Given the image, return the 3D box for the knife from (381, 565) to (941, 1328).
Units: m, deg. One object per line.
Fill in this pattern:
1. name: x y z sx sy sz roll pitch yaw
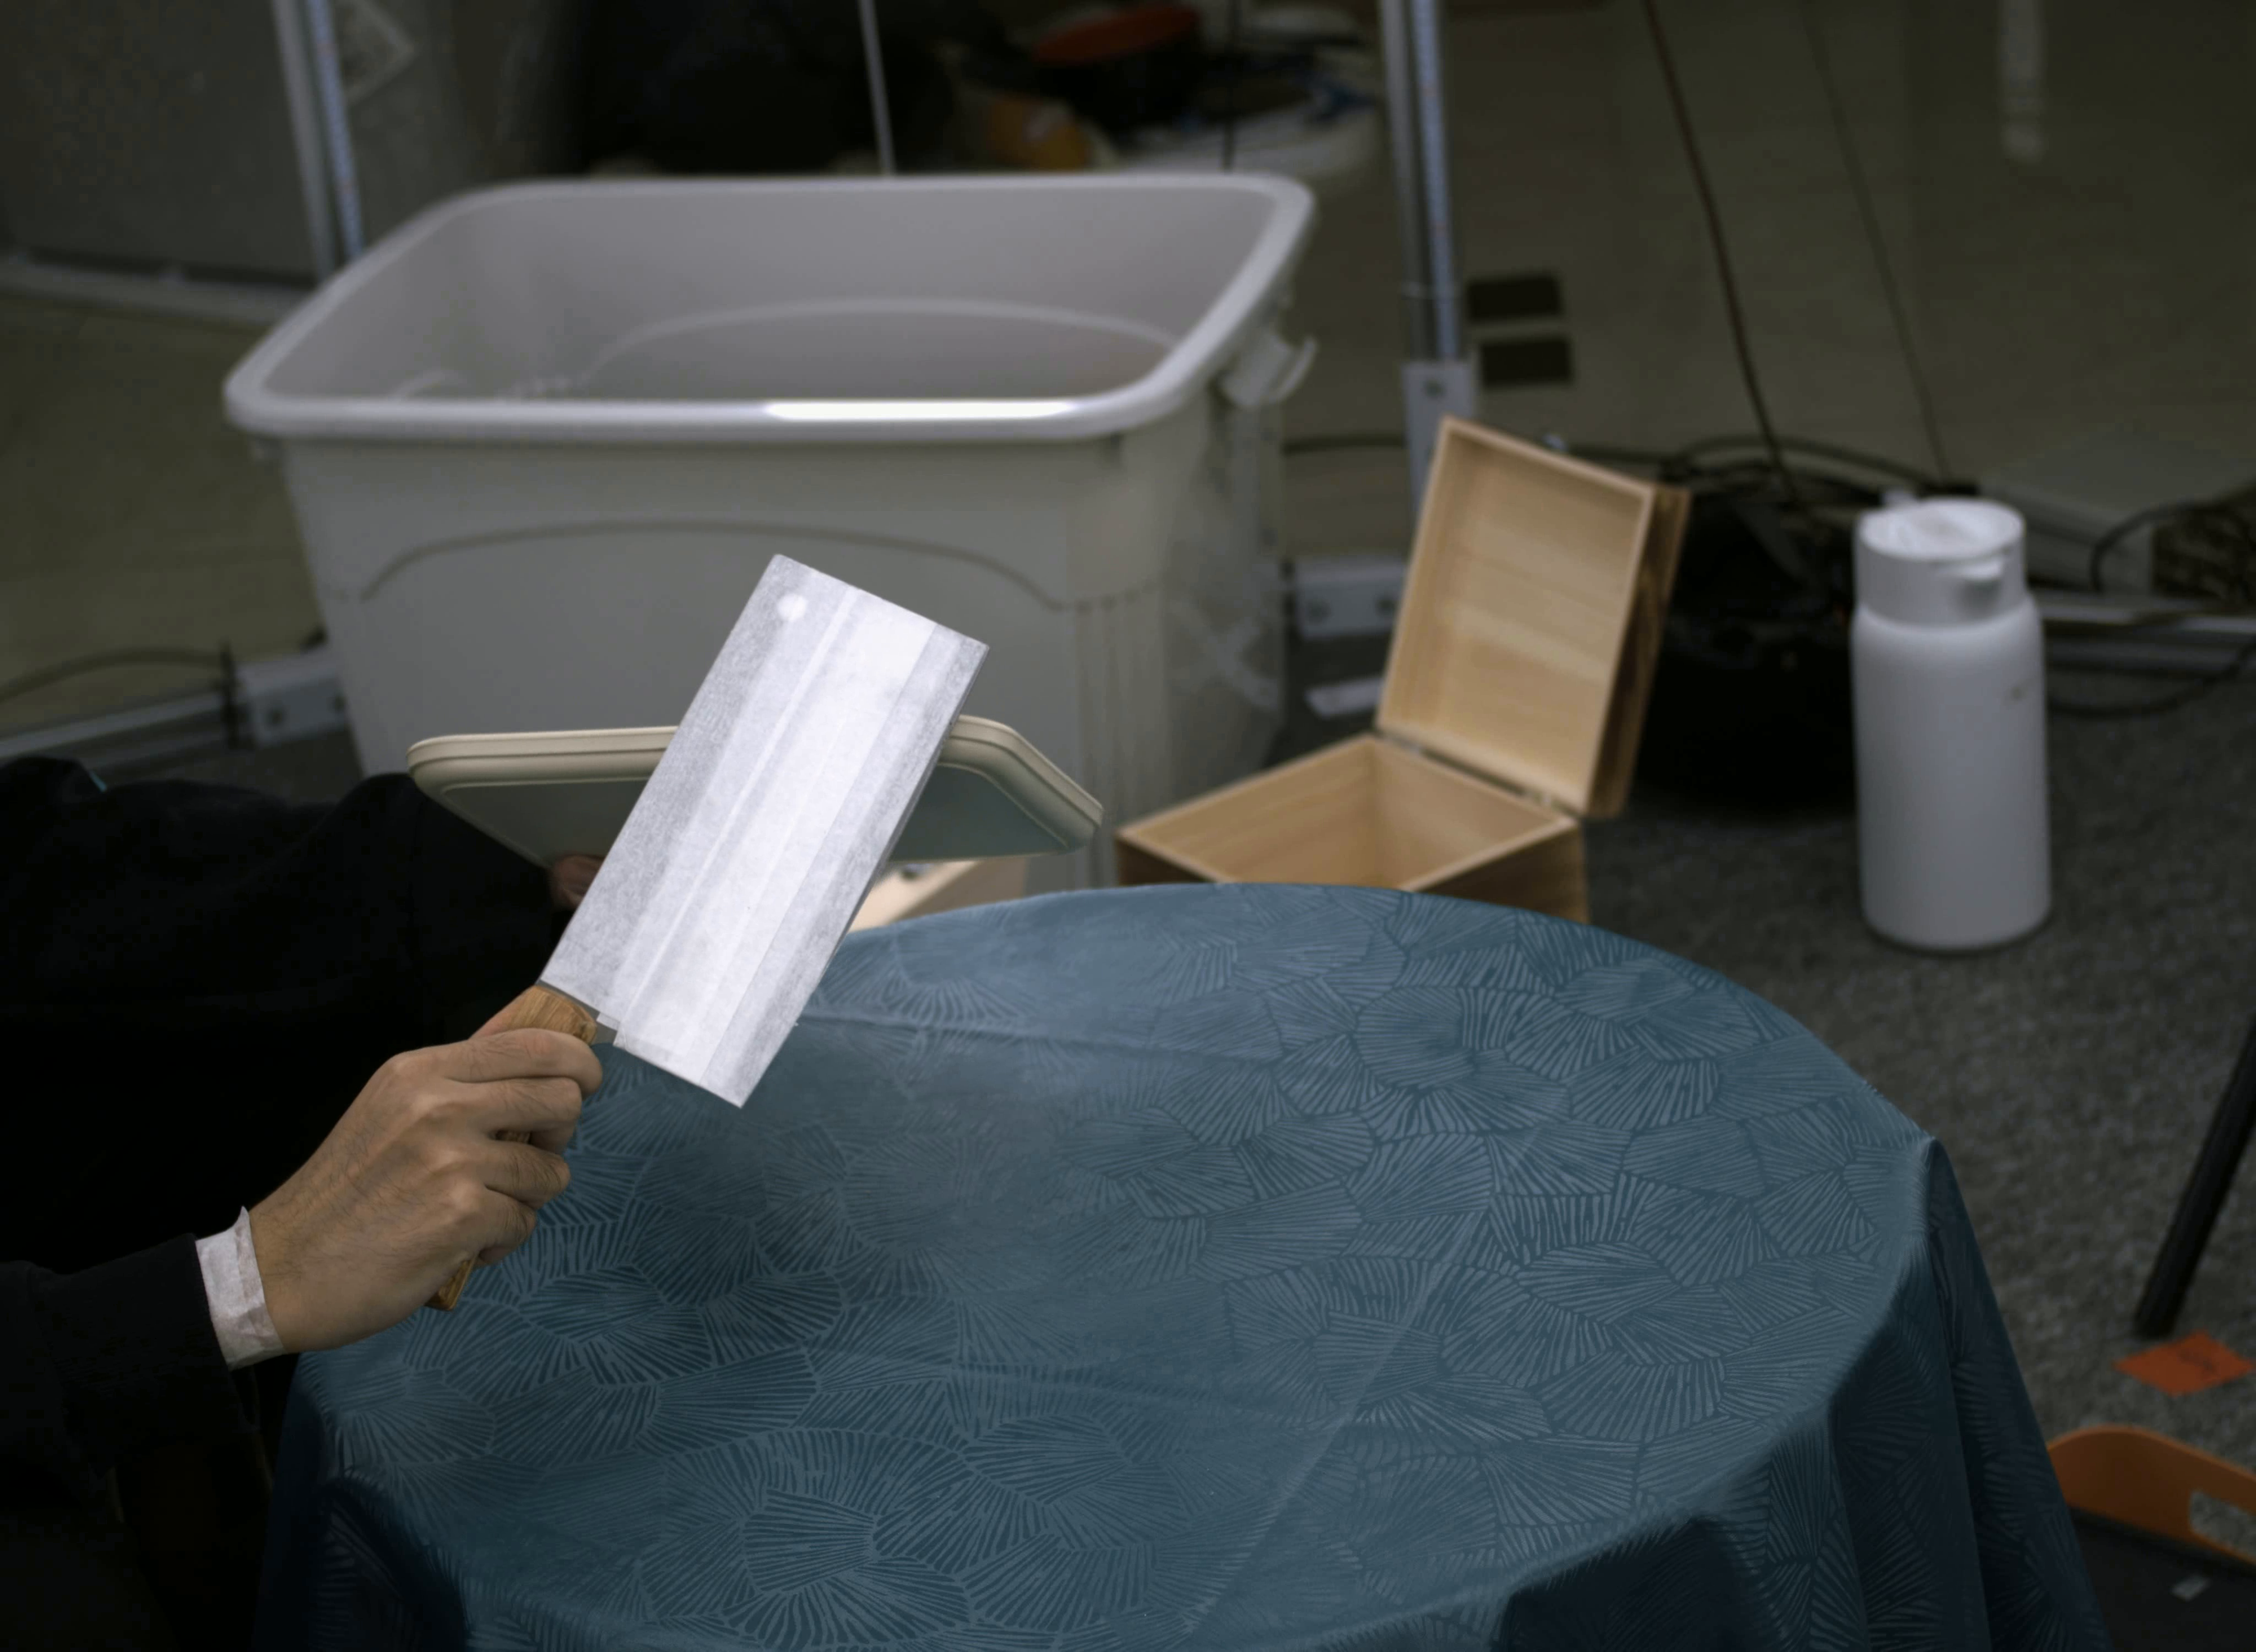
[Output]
1. knife: -0.158 0.049 1.993 0.092 0.021 0.304 25 77 13

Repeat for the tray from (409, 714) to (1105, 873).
1. tray: -0.139 -0.009 2.135 0.239 0.017 0.172 -2 -14 16
